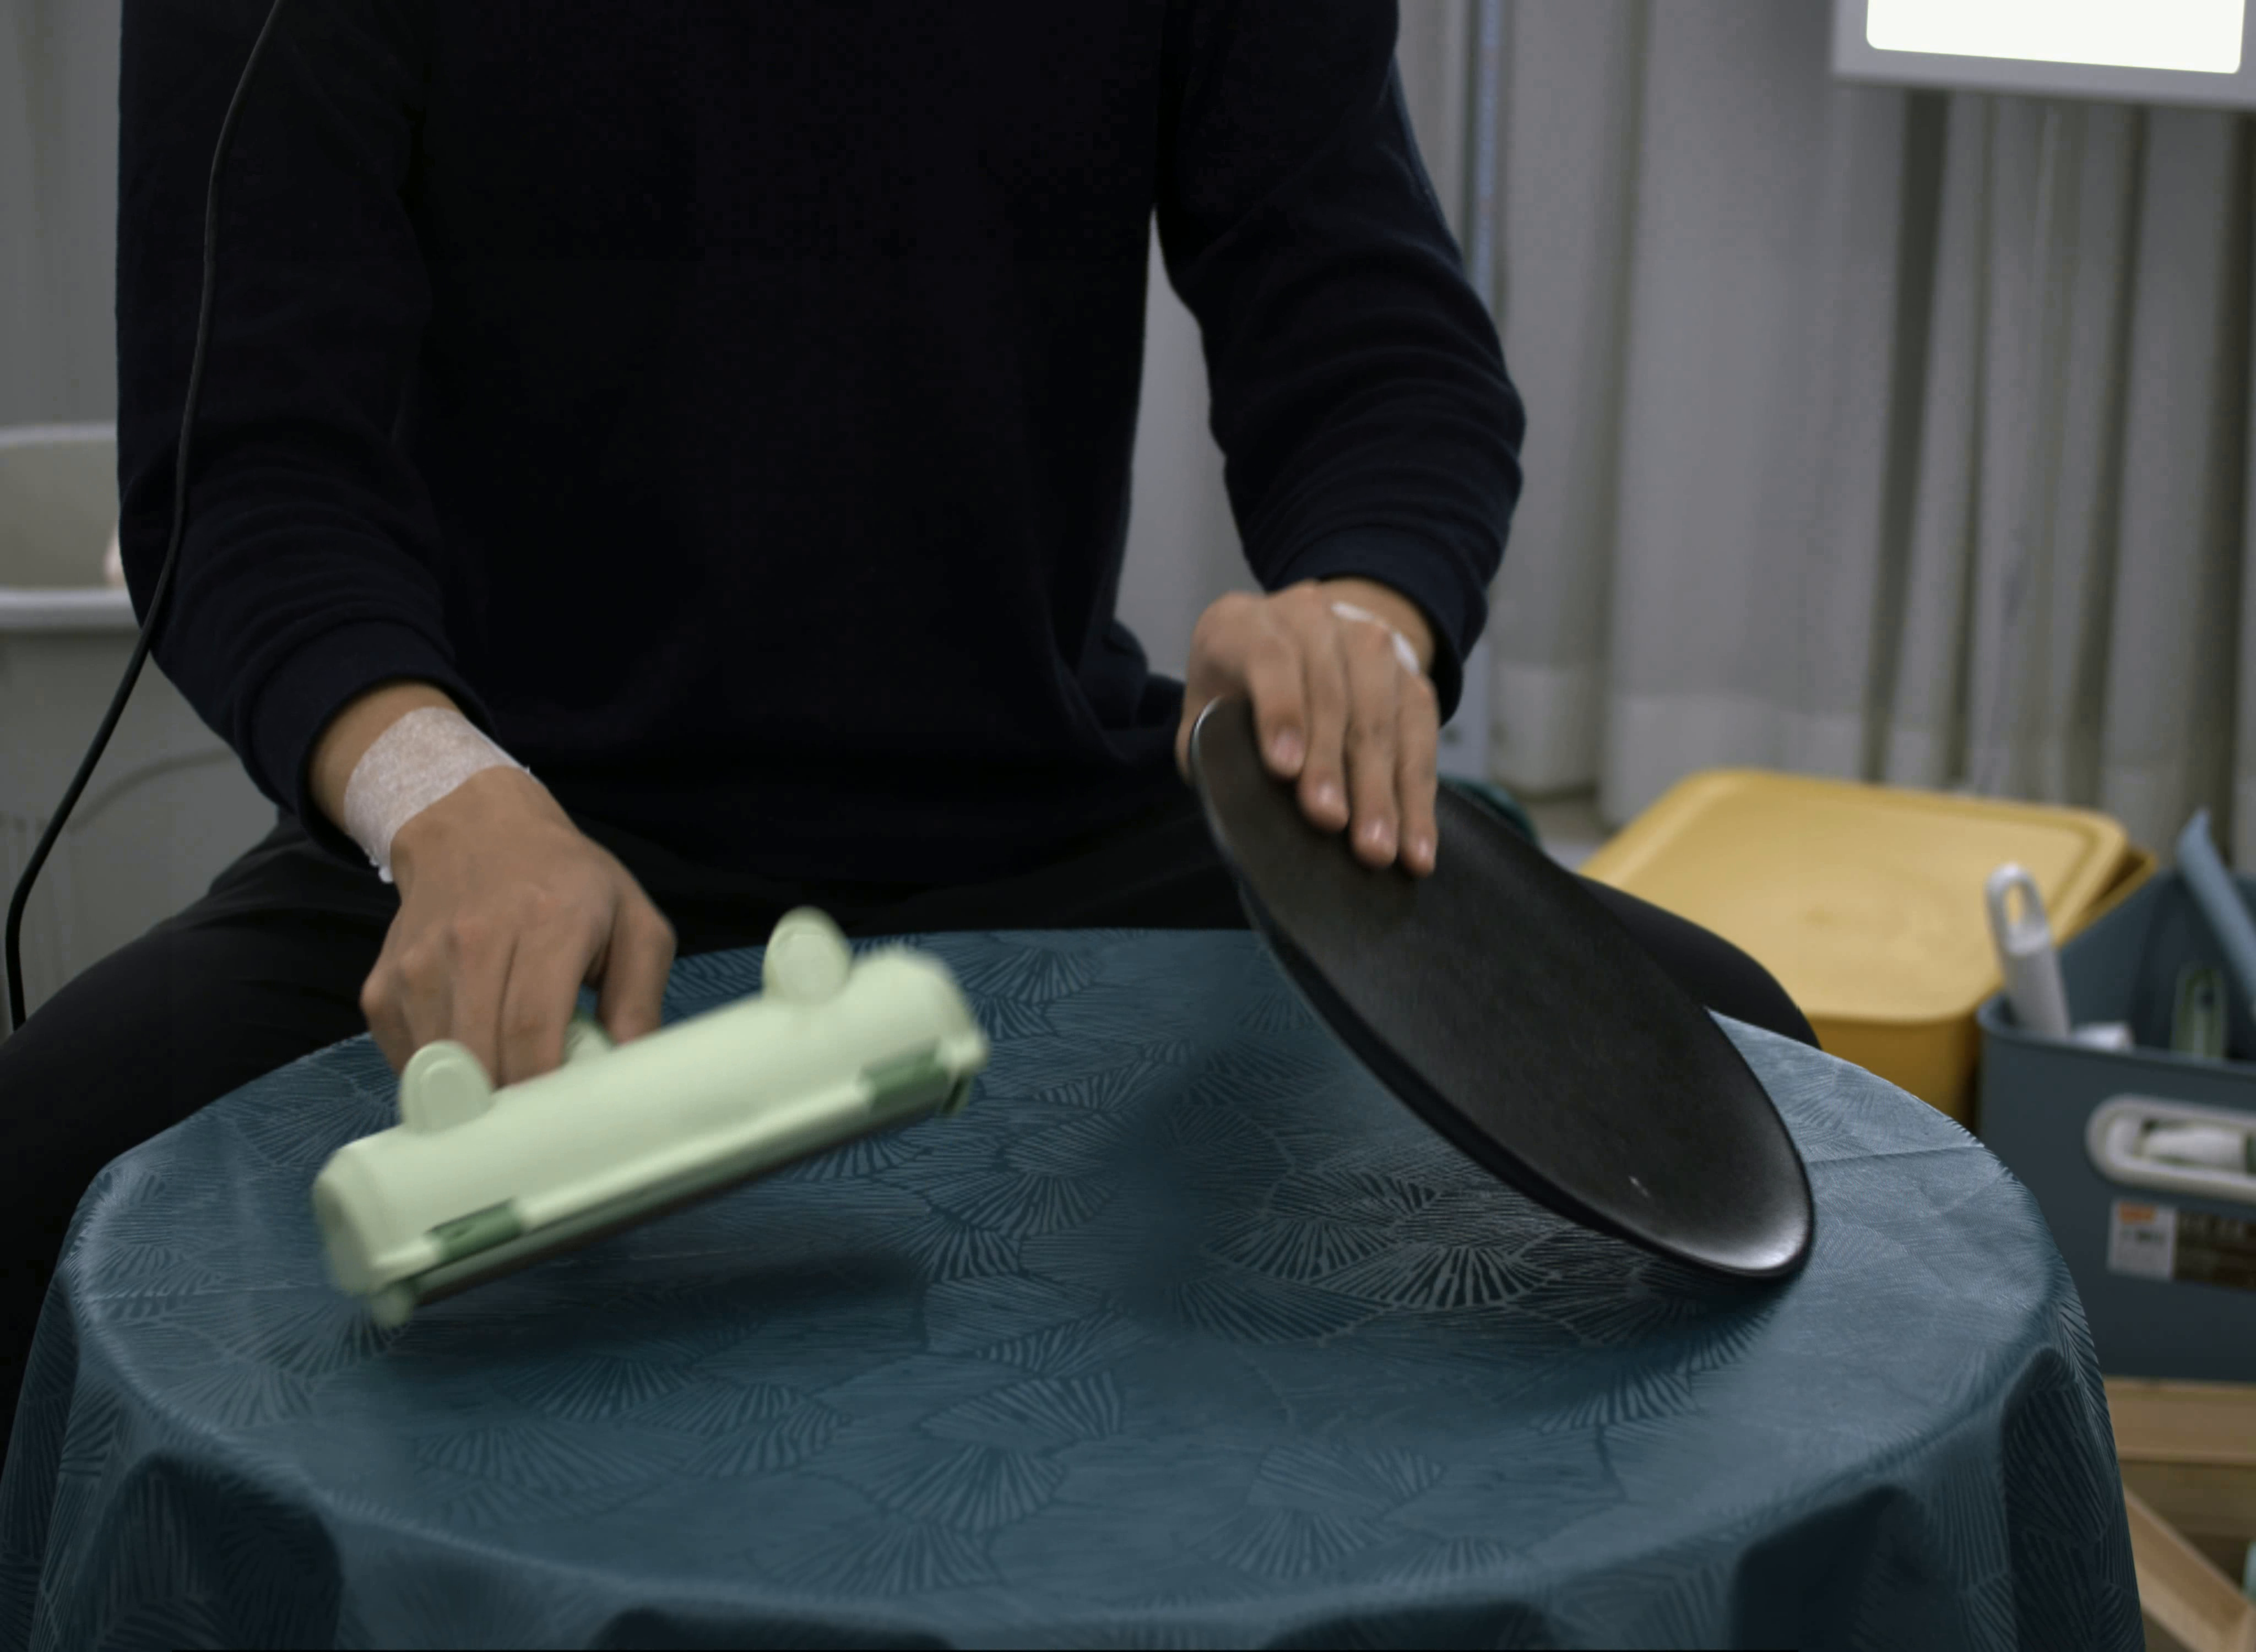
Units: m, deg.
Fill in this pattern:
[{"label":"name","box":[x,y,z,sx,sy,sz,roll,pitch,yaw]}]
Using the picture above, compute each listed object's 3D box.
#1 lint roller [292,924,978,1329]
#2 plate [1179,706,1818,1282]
[{"label":"lint roller","box":[-0.169,0.059,1.551,0.199,0.083,0.181,-18,37,-24]},{"label":"plate","box":[0.108,0.054,1.576,0.246,0.023,0.242,35,20,-14]}]
